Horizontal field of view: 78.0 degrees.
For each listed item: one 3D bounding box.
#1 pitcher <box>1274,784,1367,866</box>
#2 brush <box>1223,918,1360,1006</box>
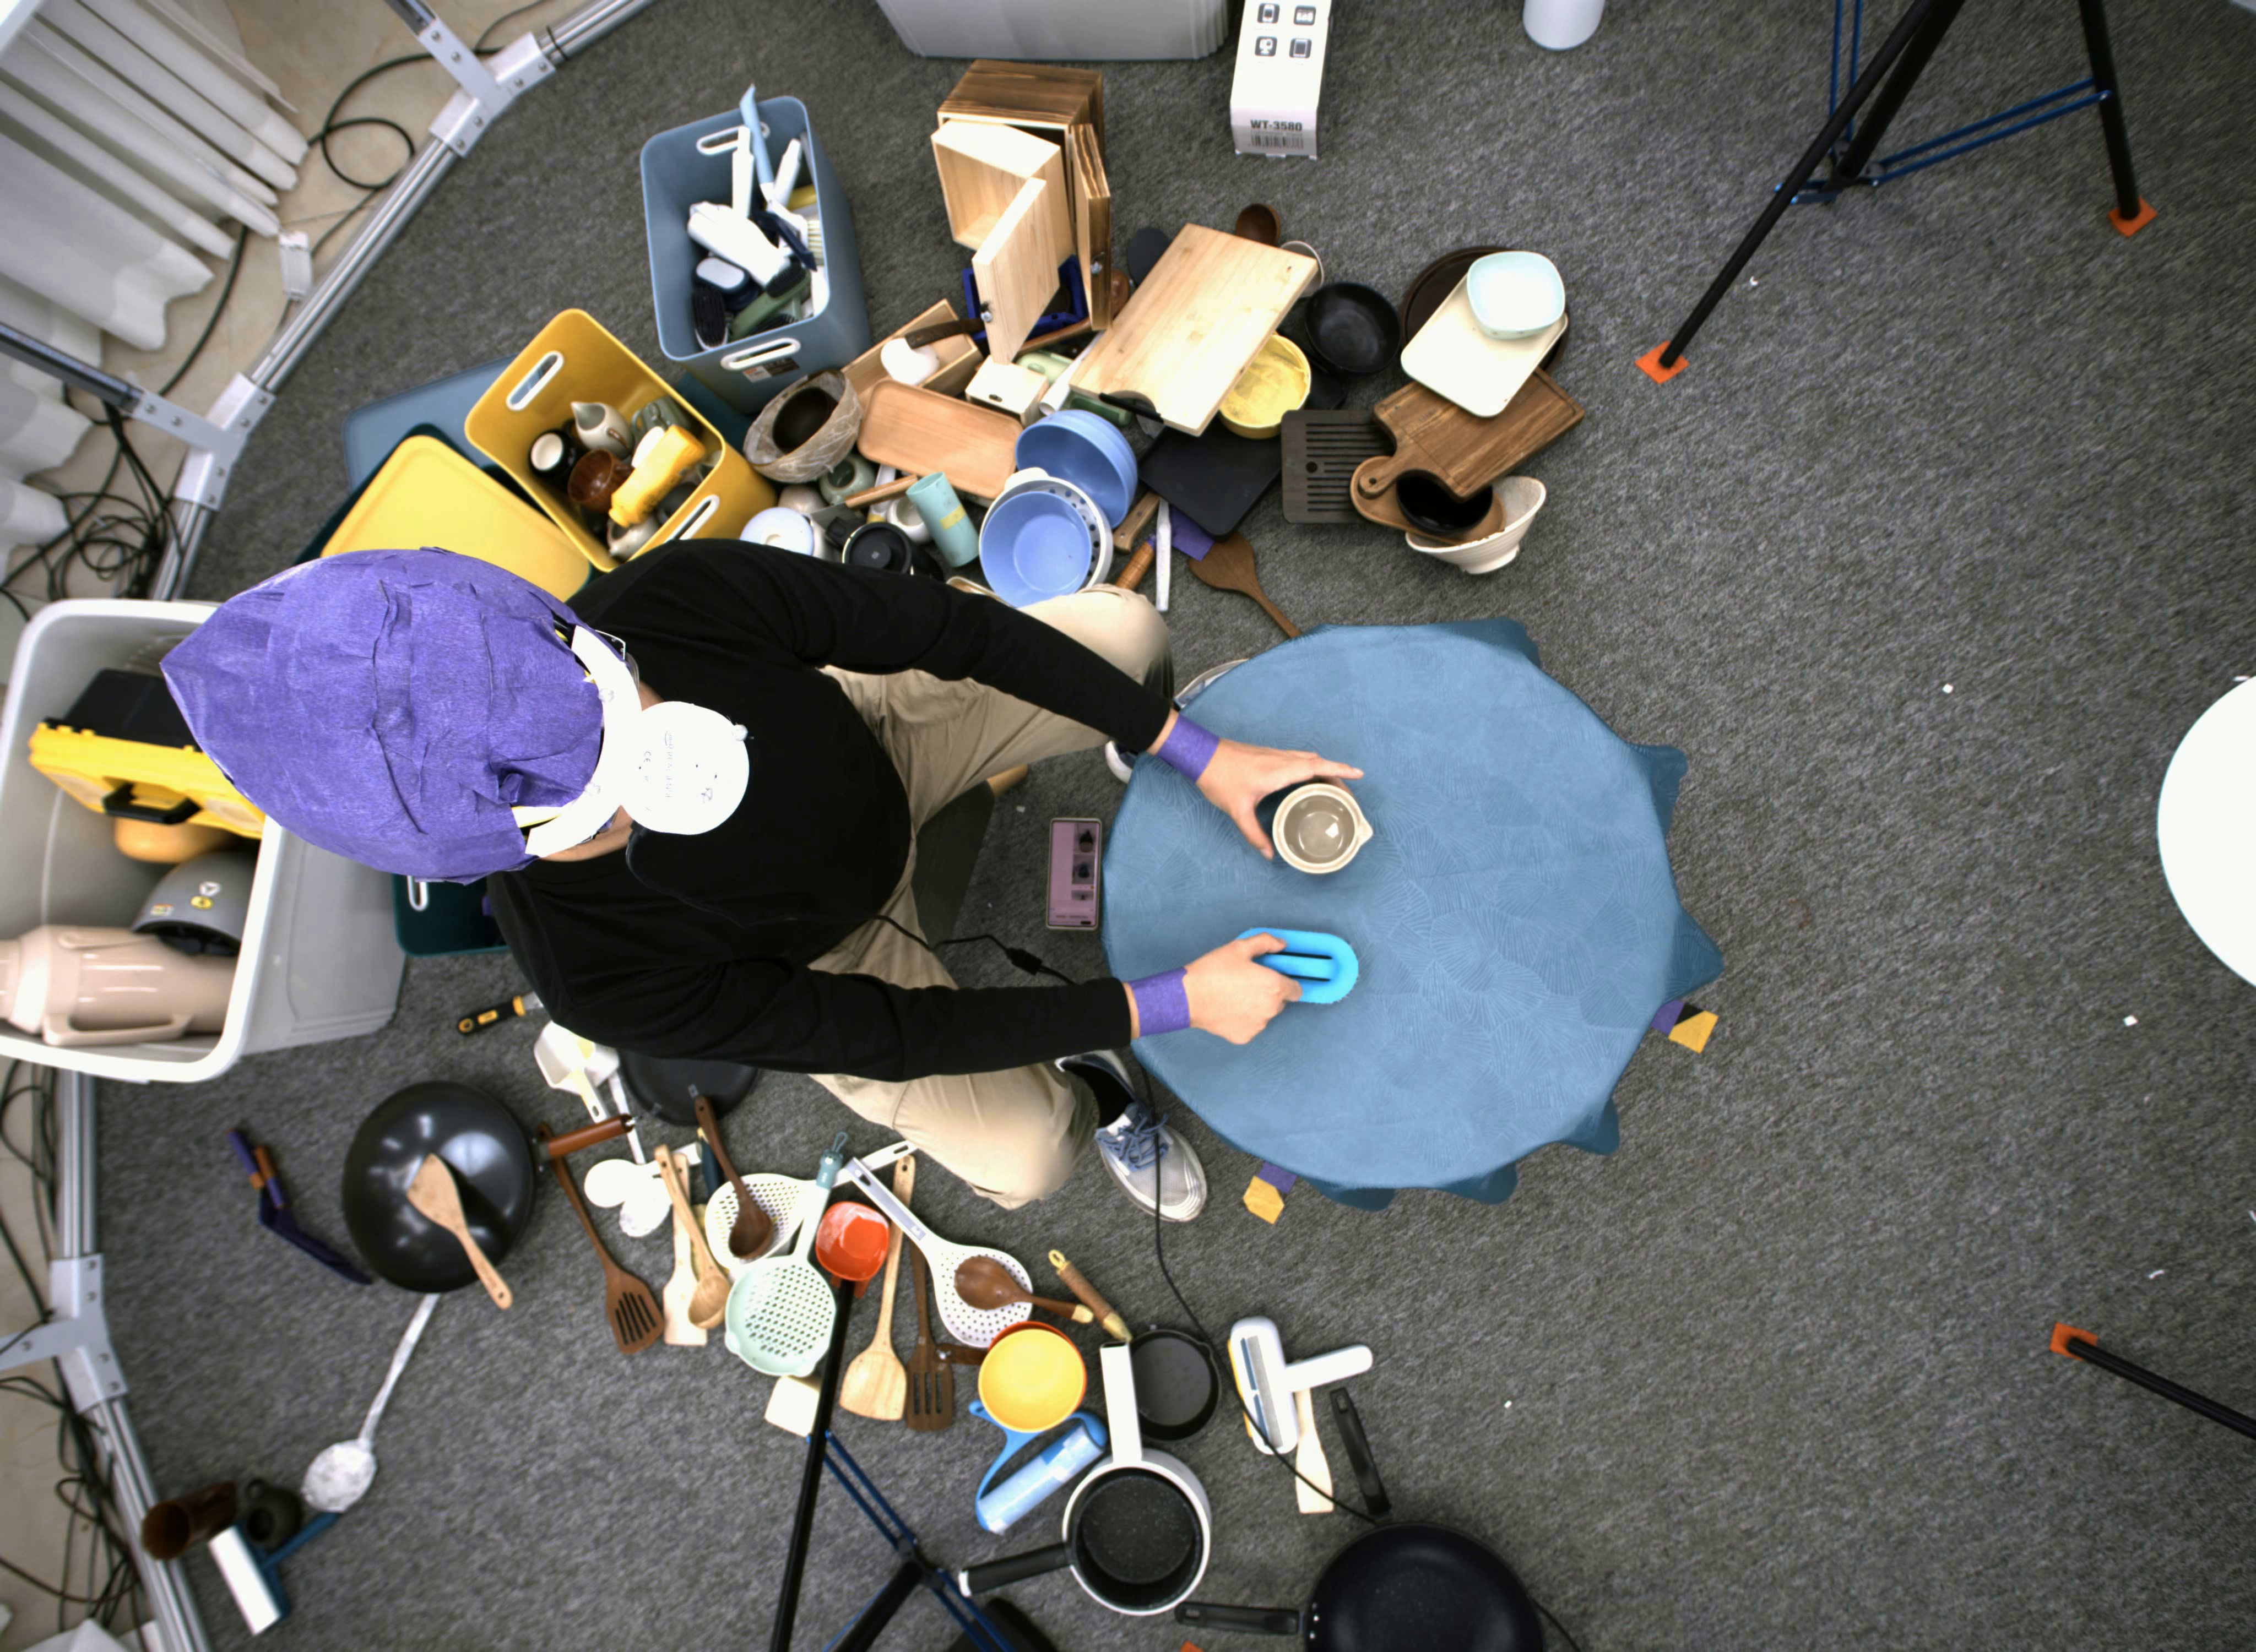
[{"bbox_3d":[0.200,0.002,1.437,0.096,0.071,0.083,10,86,9],"label":"pitcher"},{"bbox_3d":[0.169,0.141,1.440,0.142,0.063,0.084,6,91,11],"label":"brush"}]
